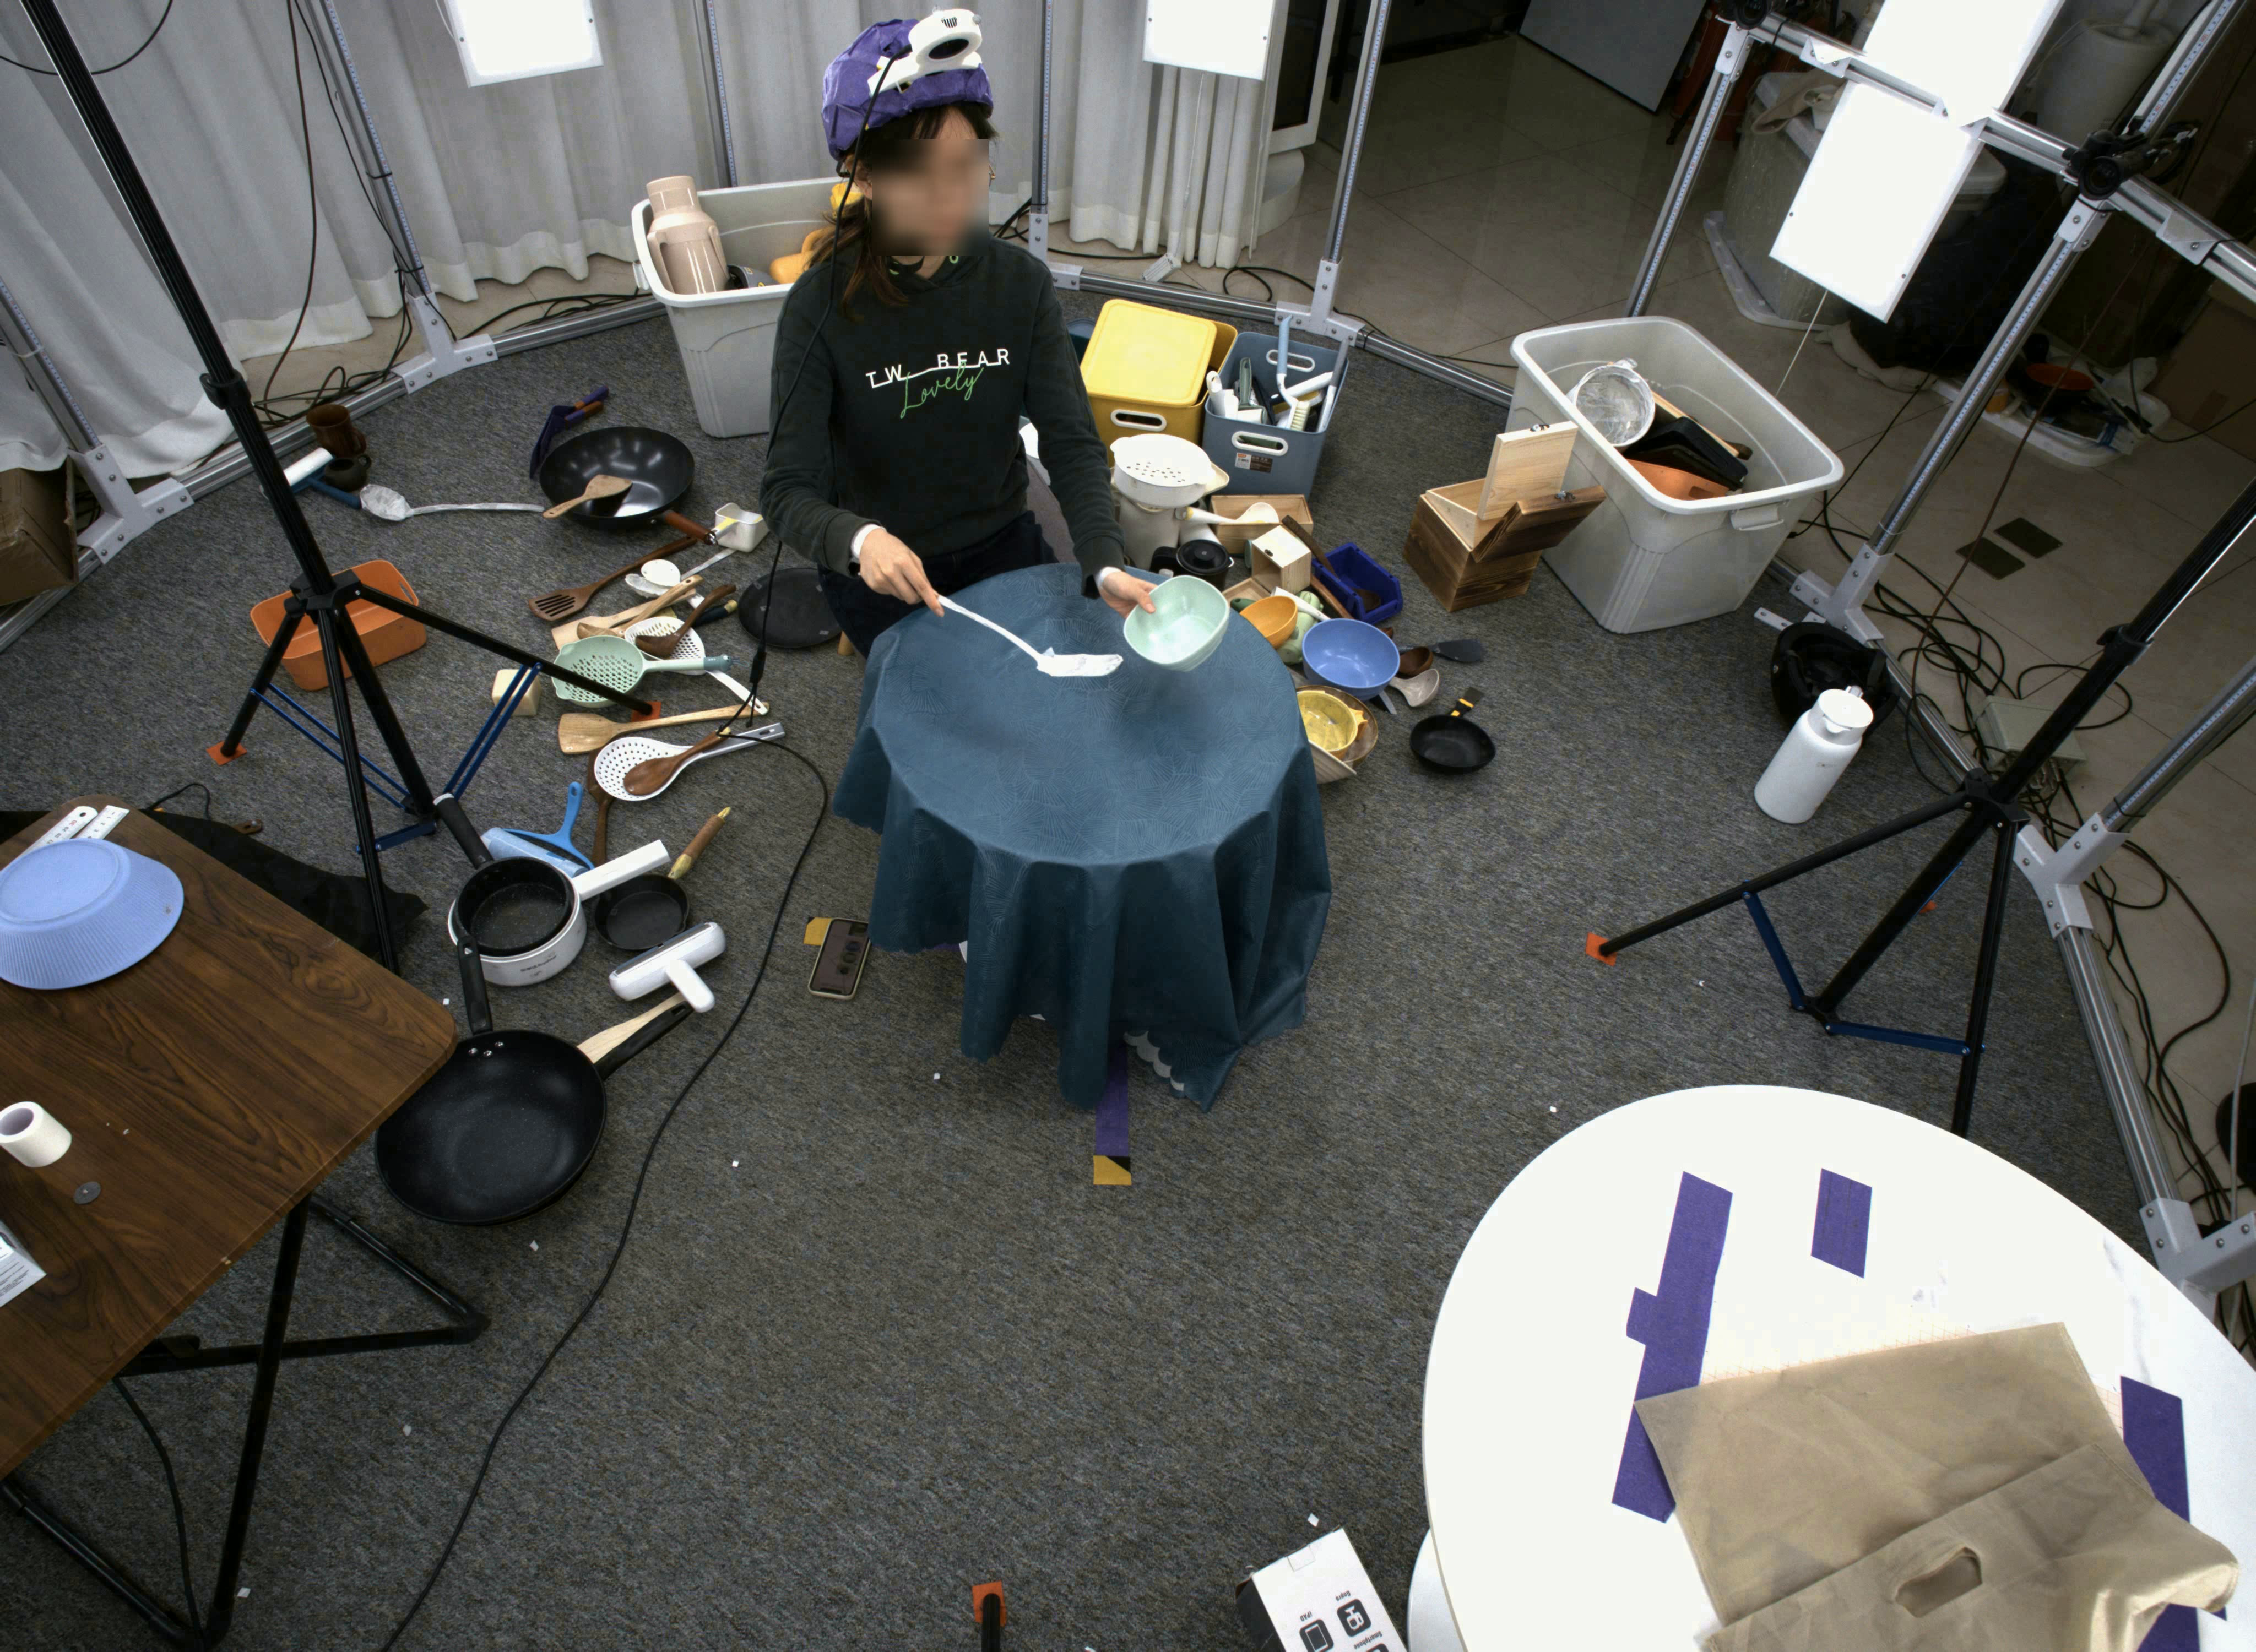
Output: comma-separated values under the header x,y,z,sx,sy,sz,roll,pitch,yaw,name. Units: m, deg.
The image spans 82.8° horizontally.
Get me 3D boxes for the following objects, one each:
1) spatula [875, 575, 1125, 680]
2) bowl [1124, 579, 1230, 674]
x,y,z,sx,sy,sz,roll,pitch,yaw,name
-0.177,-0.263,1.665,0.367,0.044,0.100,28,33,13,spatula
0.075,-0.266,1.779,0.151,0.057,0.155,-11,54,16,bowl
